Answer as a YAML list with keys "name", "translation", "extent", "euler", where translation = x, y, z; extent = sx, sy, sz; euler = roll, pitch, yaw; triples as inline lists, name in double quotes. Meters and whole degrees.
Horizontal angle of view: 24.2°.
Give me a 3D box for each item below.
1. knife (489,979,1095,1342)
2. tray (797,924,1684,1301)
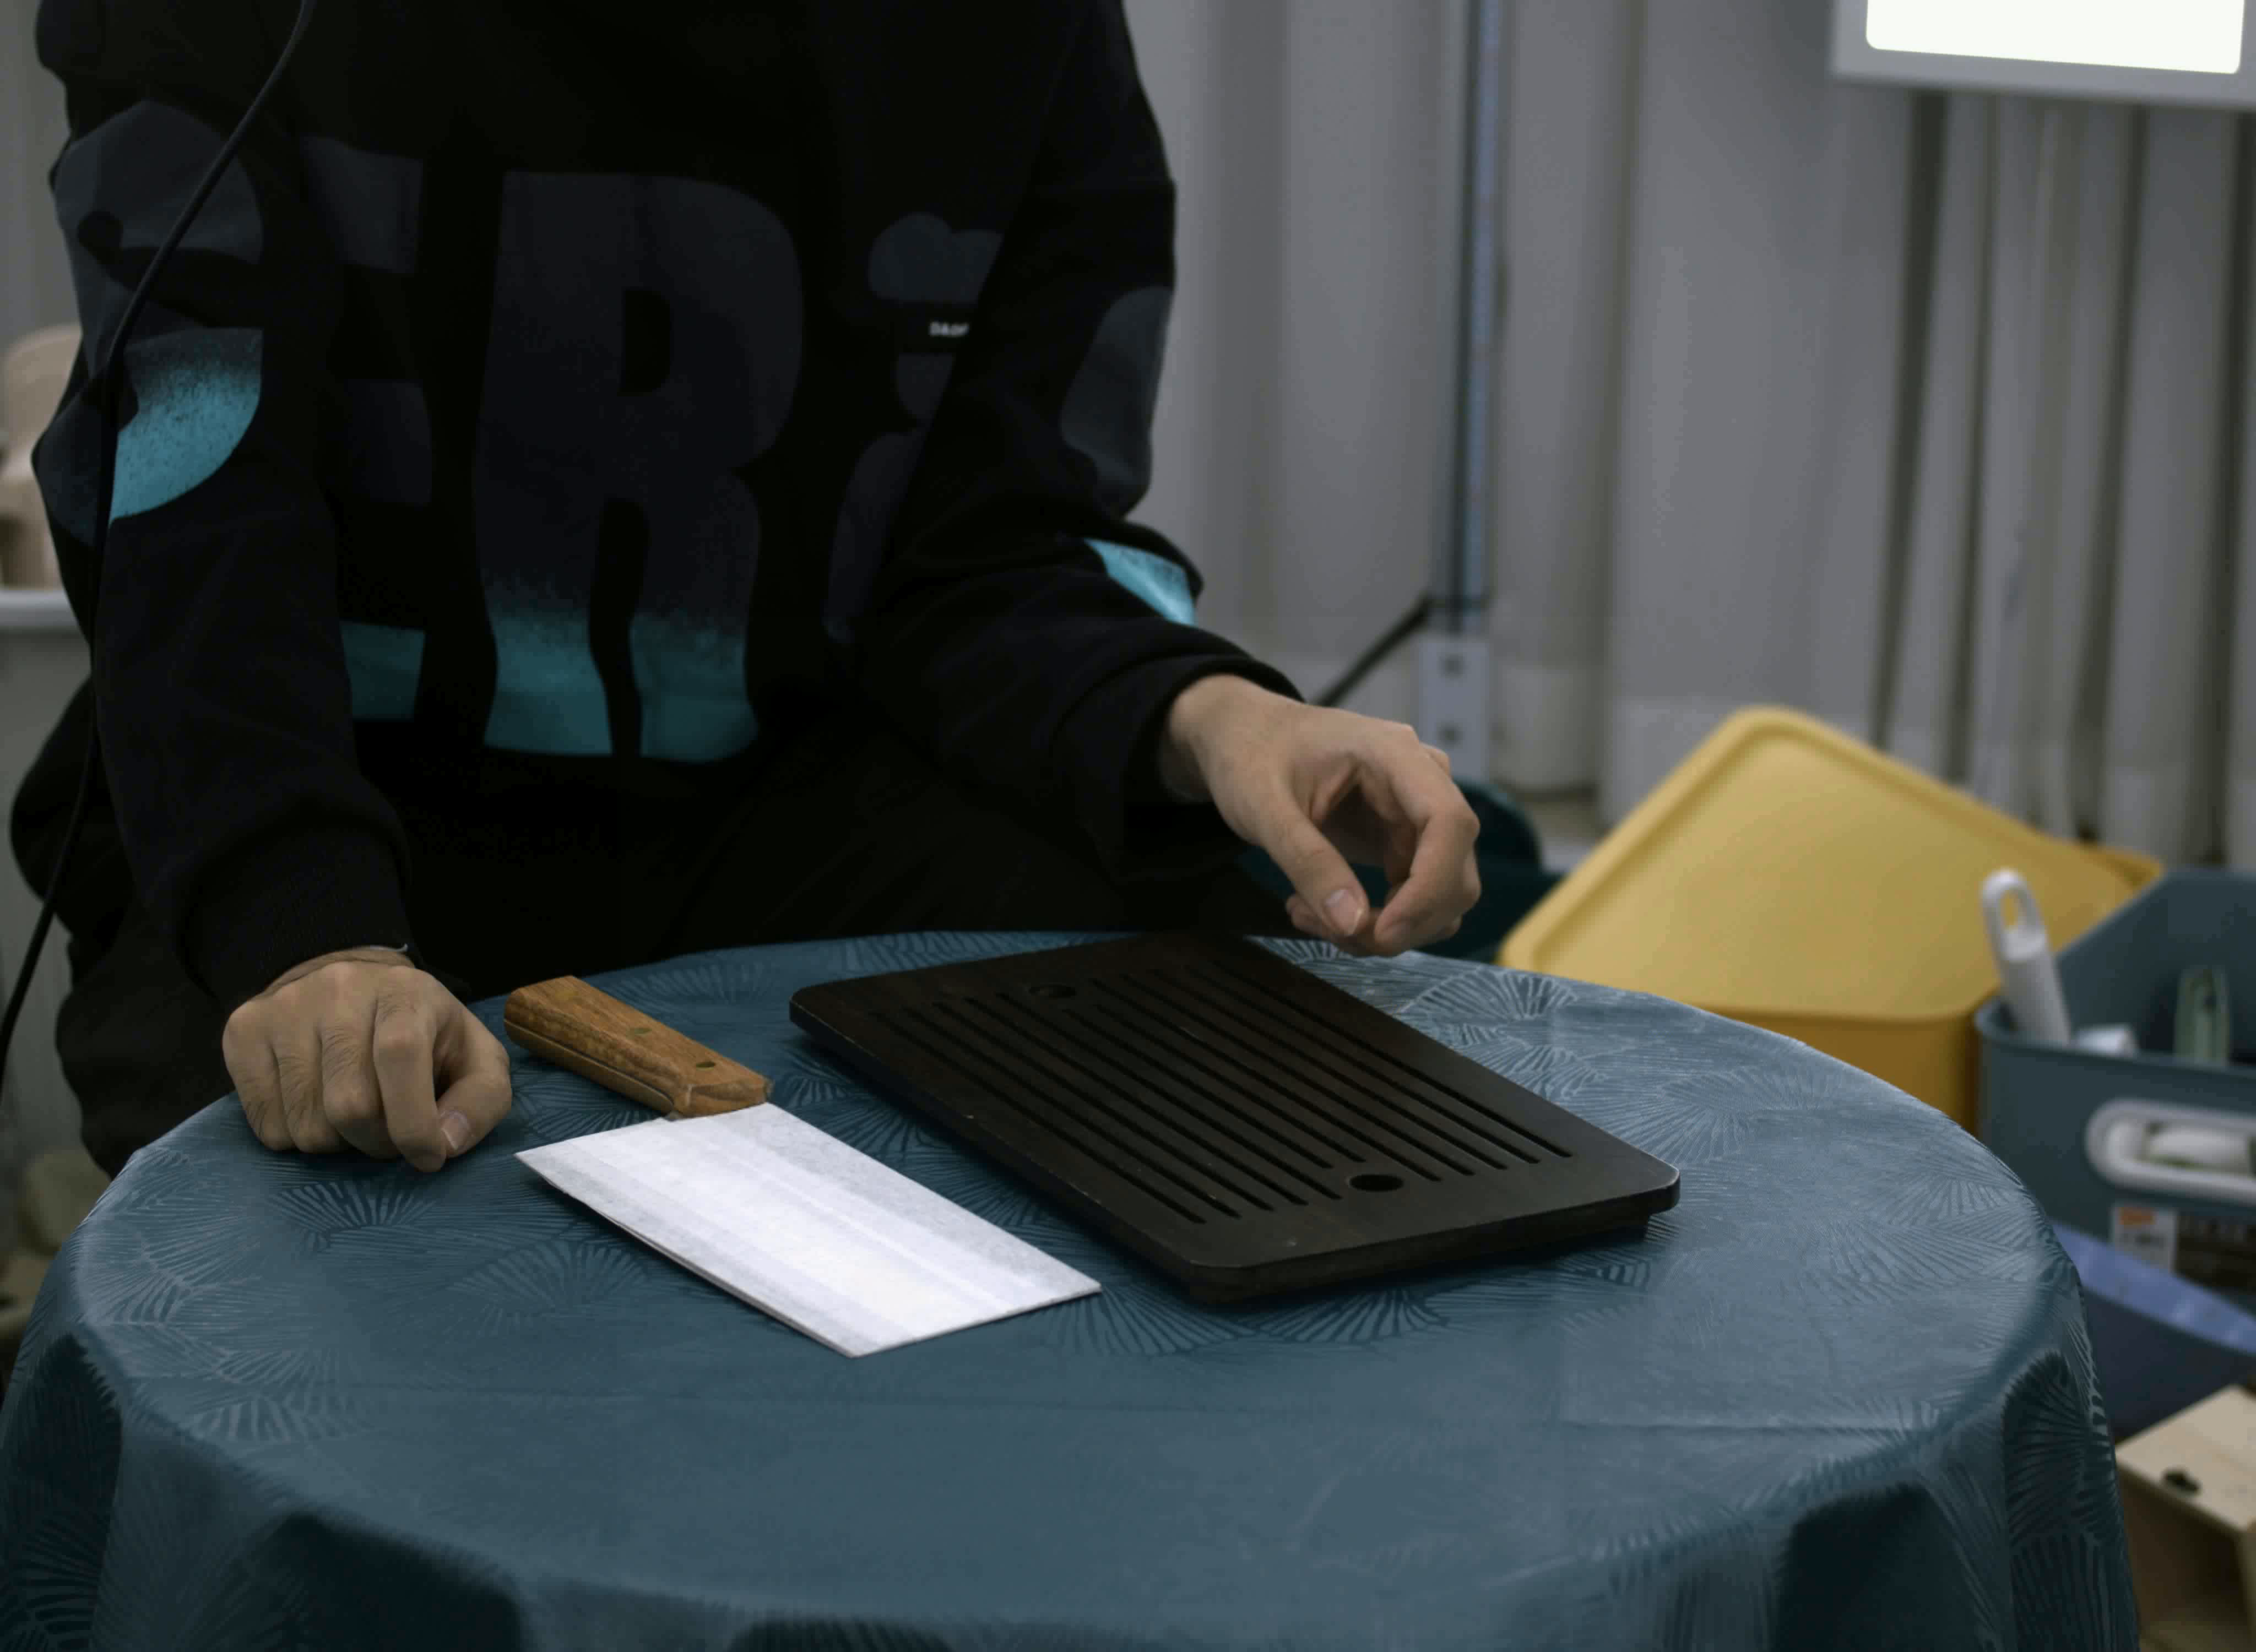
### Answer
- name: "knife"
  translation: [-0.131, 0.103, 1.624]
  extent: [0.093, 0.021, 0.301]
  euler: [-13, 23, -35]
- name: "tray"
  translation: [0.029, 0.087, 1.678]
  extent: [0.171, 0.019, 0.302]
  euler: [-8, 18, -26]
